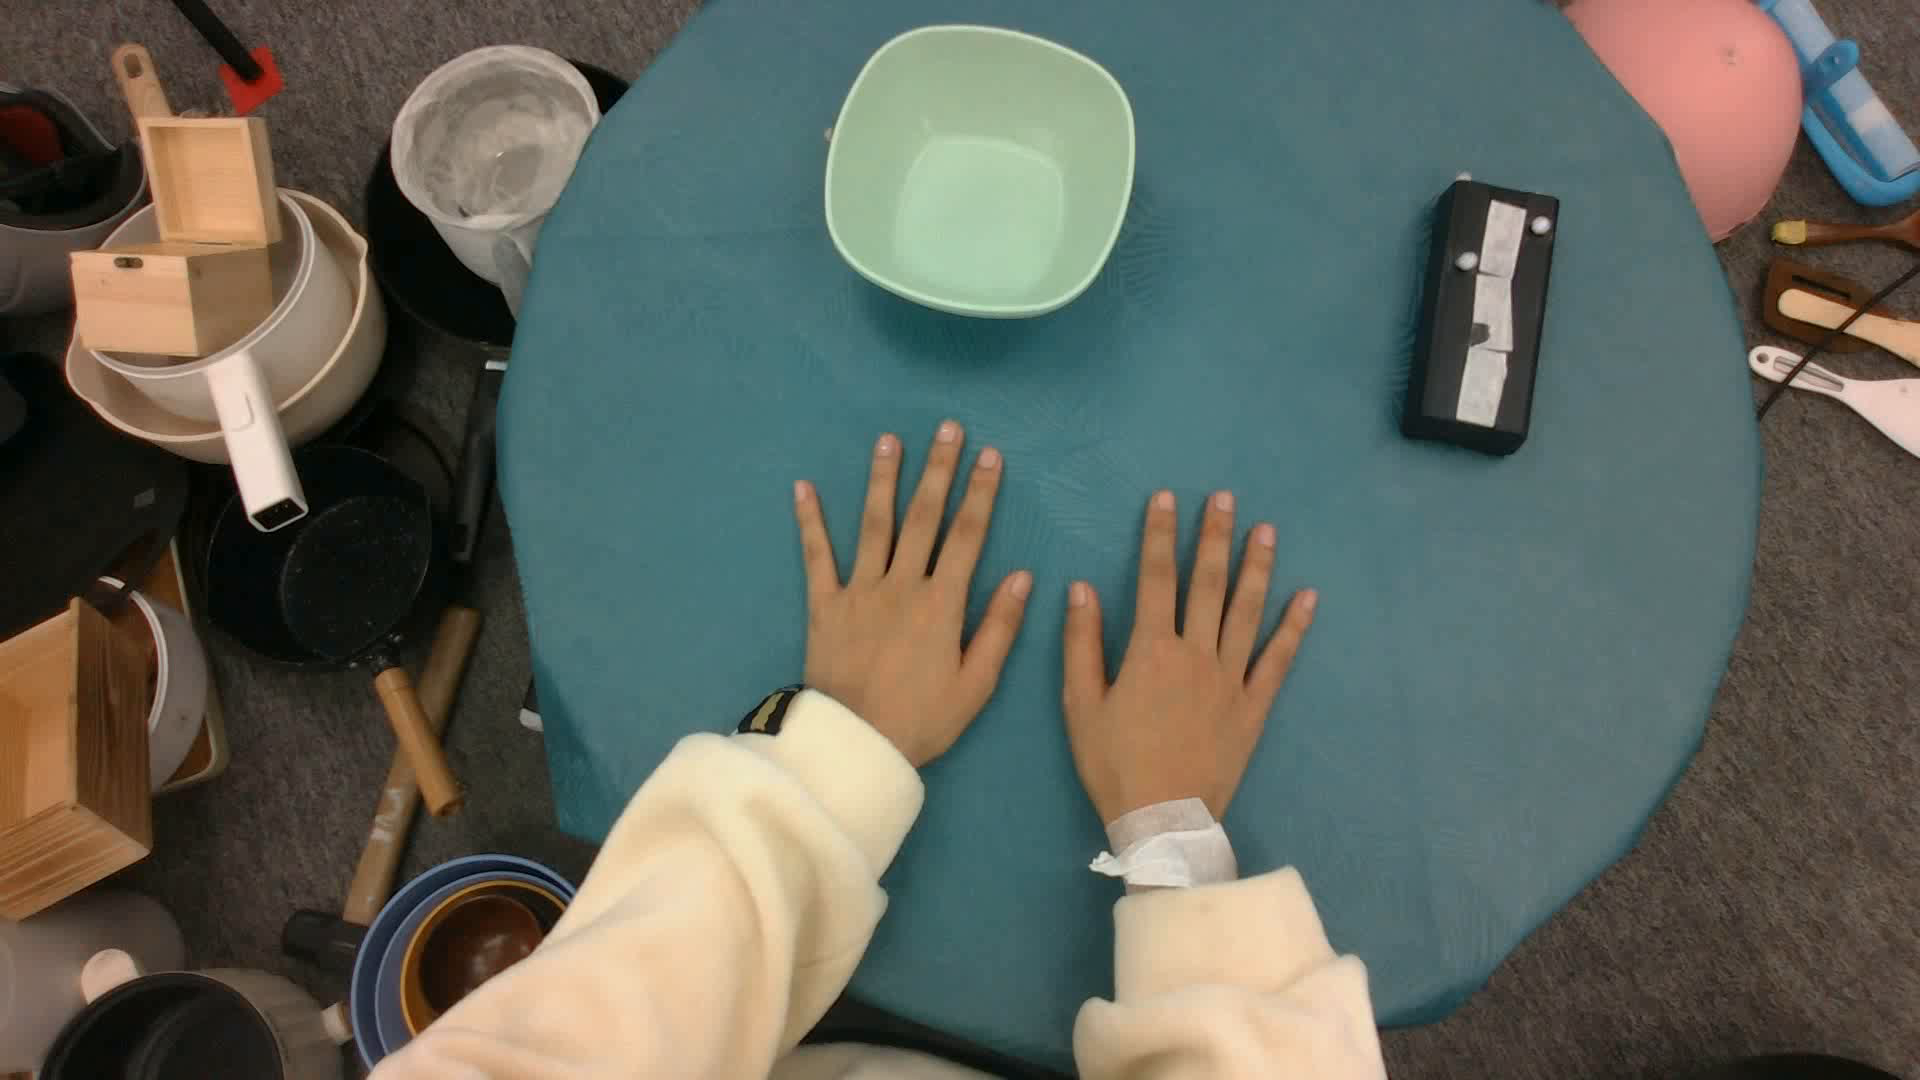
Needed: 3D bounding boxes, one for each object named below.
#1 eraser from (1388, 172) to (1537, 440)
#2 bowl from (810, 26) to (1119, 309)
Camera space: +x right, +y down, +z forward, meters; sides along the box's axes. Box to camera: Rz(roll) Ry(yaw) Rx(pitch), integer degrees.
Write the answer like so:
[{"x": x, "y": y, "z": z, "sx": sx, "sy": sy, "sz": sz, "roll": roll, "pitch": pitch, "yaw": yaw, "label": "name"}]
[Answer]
[{"x": 0.240, "y": -0.112, "z": 0.659, "sx": 0.053, "sy": 0.030, "sz": 0.126, "roll": 10, "pitch": 79, "yaw": 4, "label": "eraser"}, {"x": 0.003, "y": -0.167, "z": 0.655, "sx": 0.151, "sy": 0.058, "sz": 0.152, "roll": -1, "pitch": 76, "yaw": 2, "label": "bowl"}]
